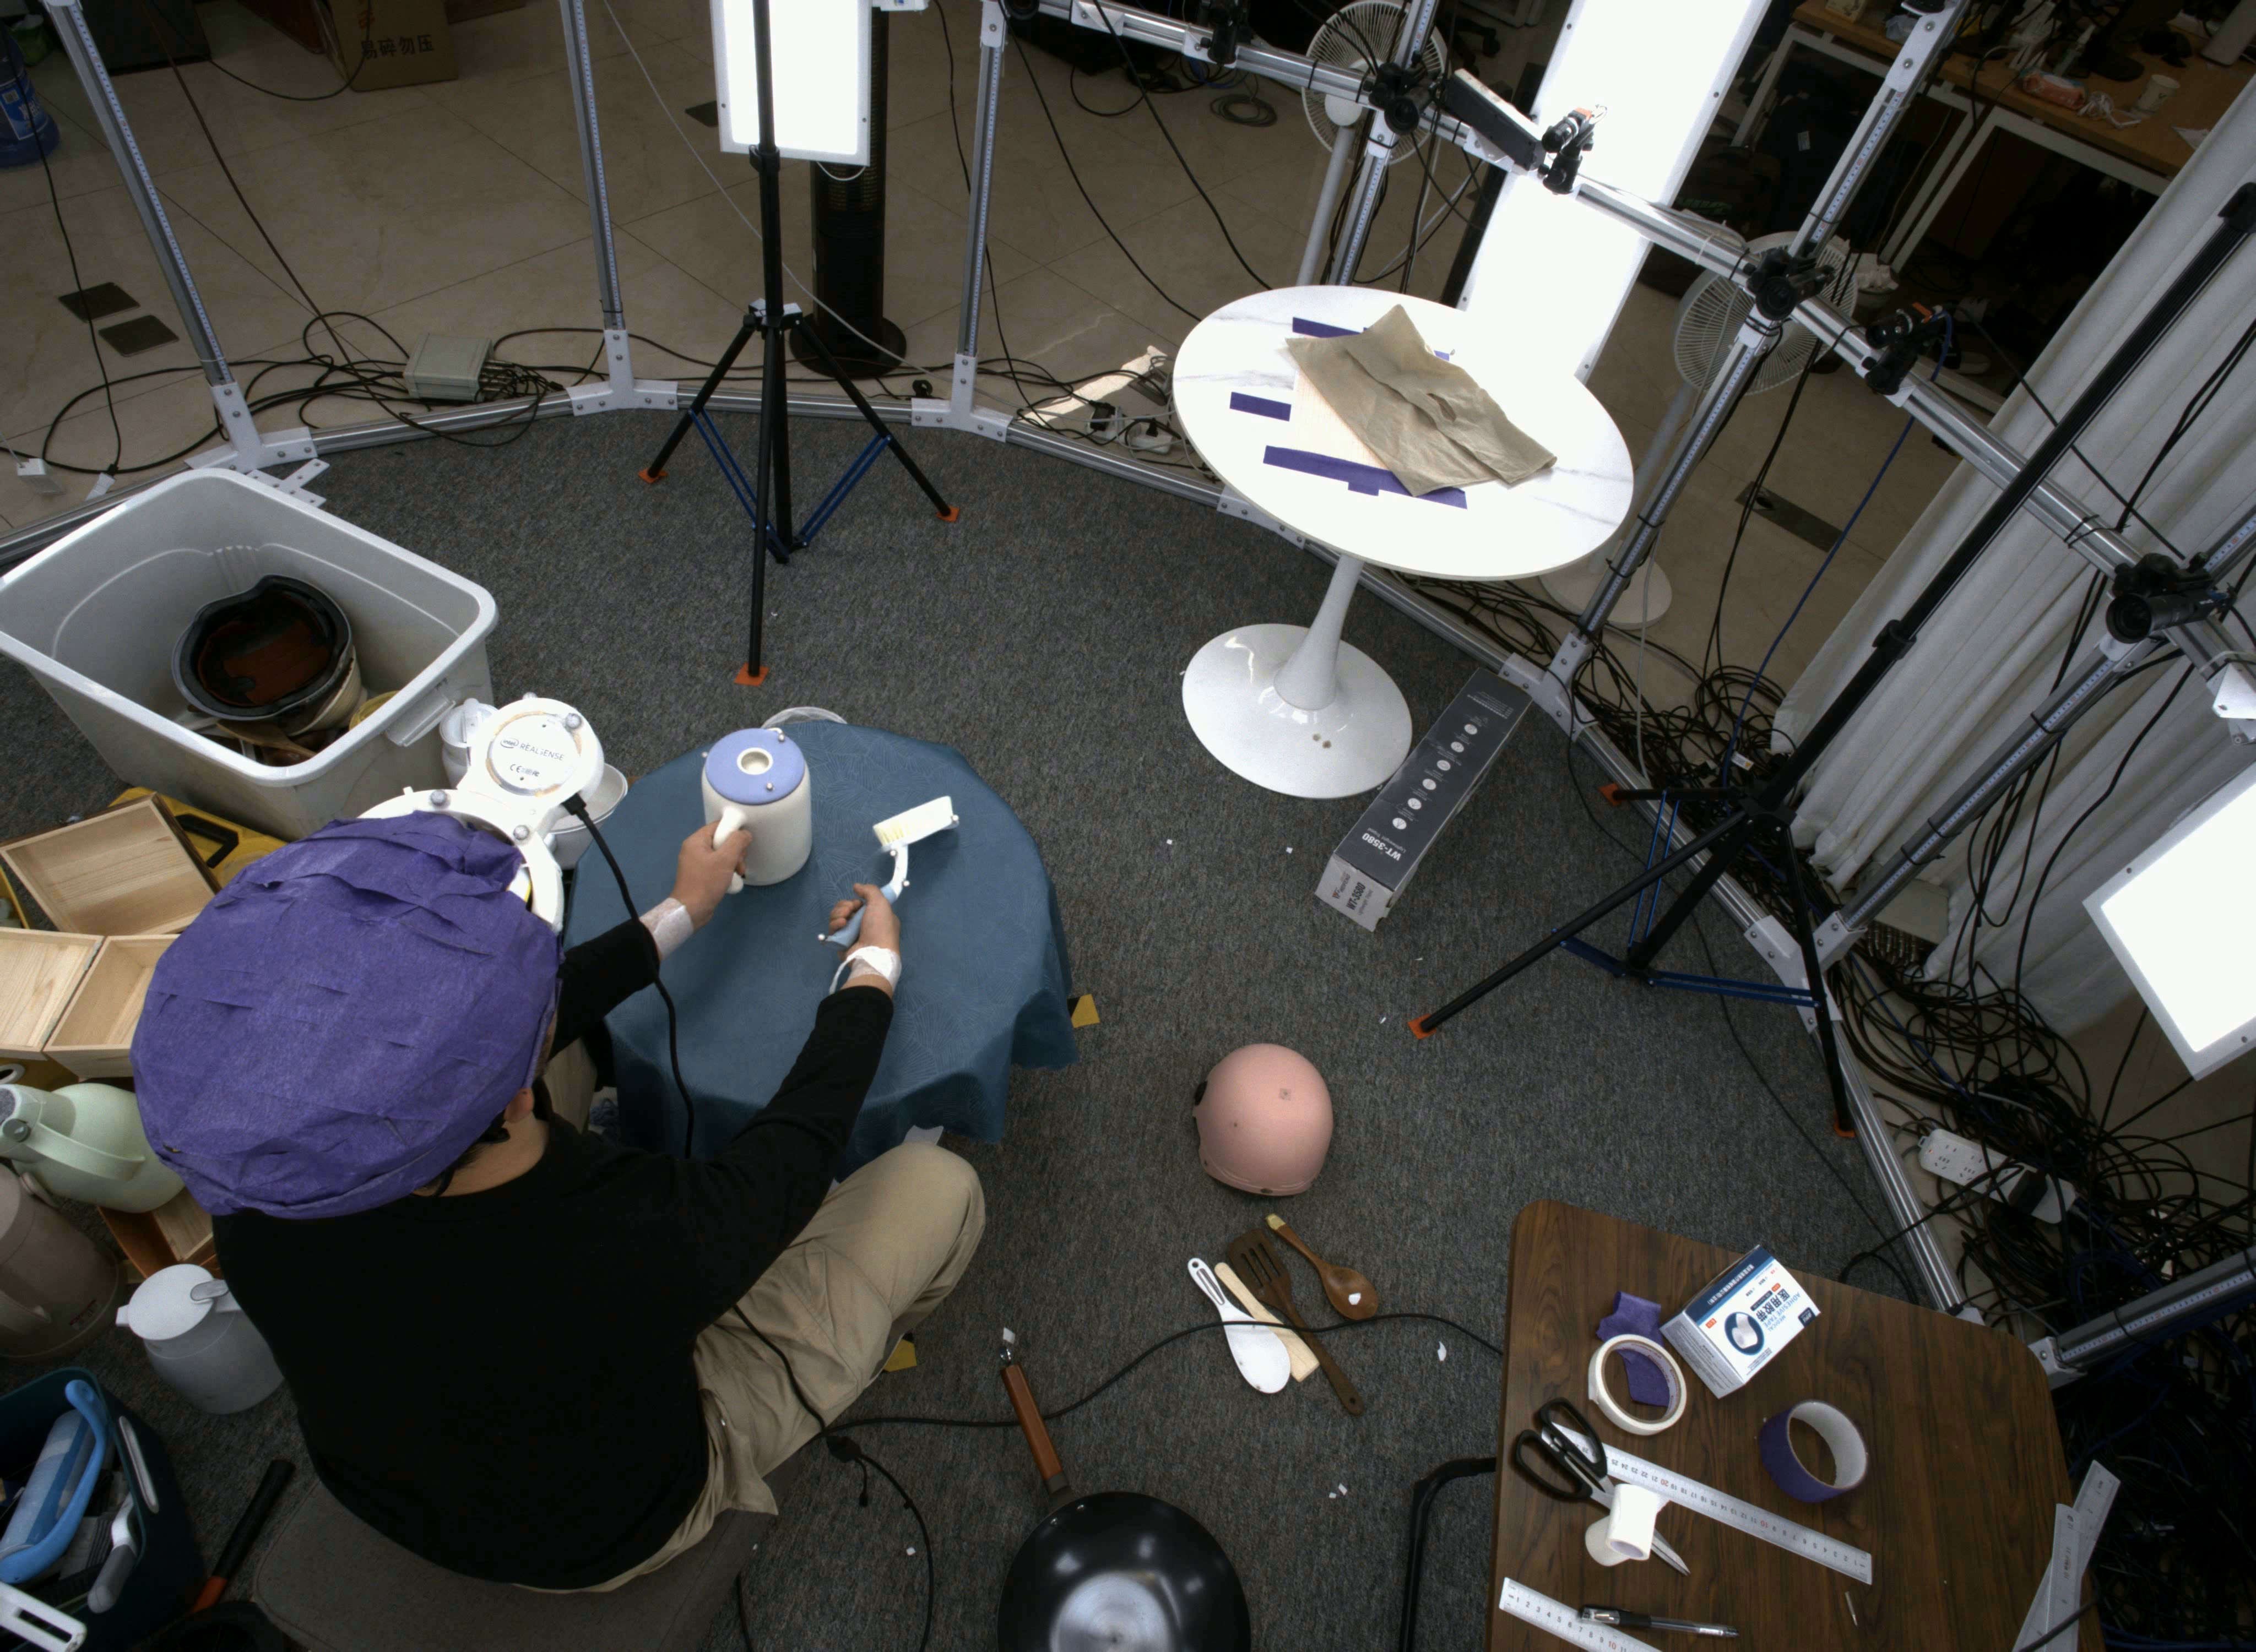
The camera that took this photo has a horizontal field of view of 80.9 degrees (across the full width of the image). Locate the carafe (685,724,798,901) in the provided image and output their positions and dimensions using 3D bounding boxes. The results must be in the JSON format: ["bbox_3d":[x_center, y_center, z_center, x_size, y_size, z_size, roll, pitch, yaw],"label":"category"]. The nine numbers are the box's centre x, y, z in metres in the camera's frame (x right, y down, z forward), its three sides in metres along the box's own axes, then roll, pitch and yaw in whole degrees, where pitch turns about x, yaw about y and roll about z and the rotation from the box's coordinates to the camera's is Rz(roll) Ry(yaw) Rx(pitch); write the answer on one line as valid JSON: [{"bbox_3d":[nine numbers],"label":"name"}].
[{"bbox_3d":[-0.485,-0.005,1.595,0.131,0.186,0.188,14,52,-1],"label":"carafe"}]

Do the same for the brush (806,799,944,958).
[{"bbox_3d":[-0.323,0.041,1.614,0.083,0.084,0.323,27,35,7],"label":"brush"}]
